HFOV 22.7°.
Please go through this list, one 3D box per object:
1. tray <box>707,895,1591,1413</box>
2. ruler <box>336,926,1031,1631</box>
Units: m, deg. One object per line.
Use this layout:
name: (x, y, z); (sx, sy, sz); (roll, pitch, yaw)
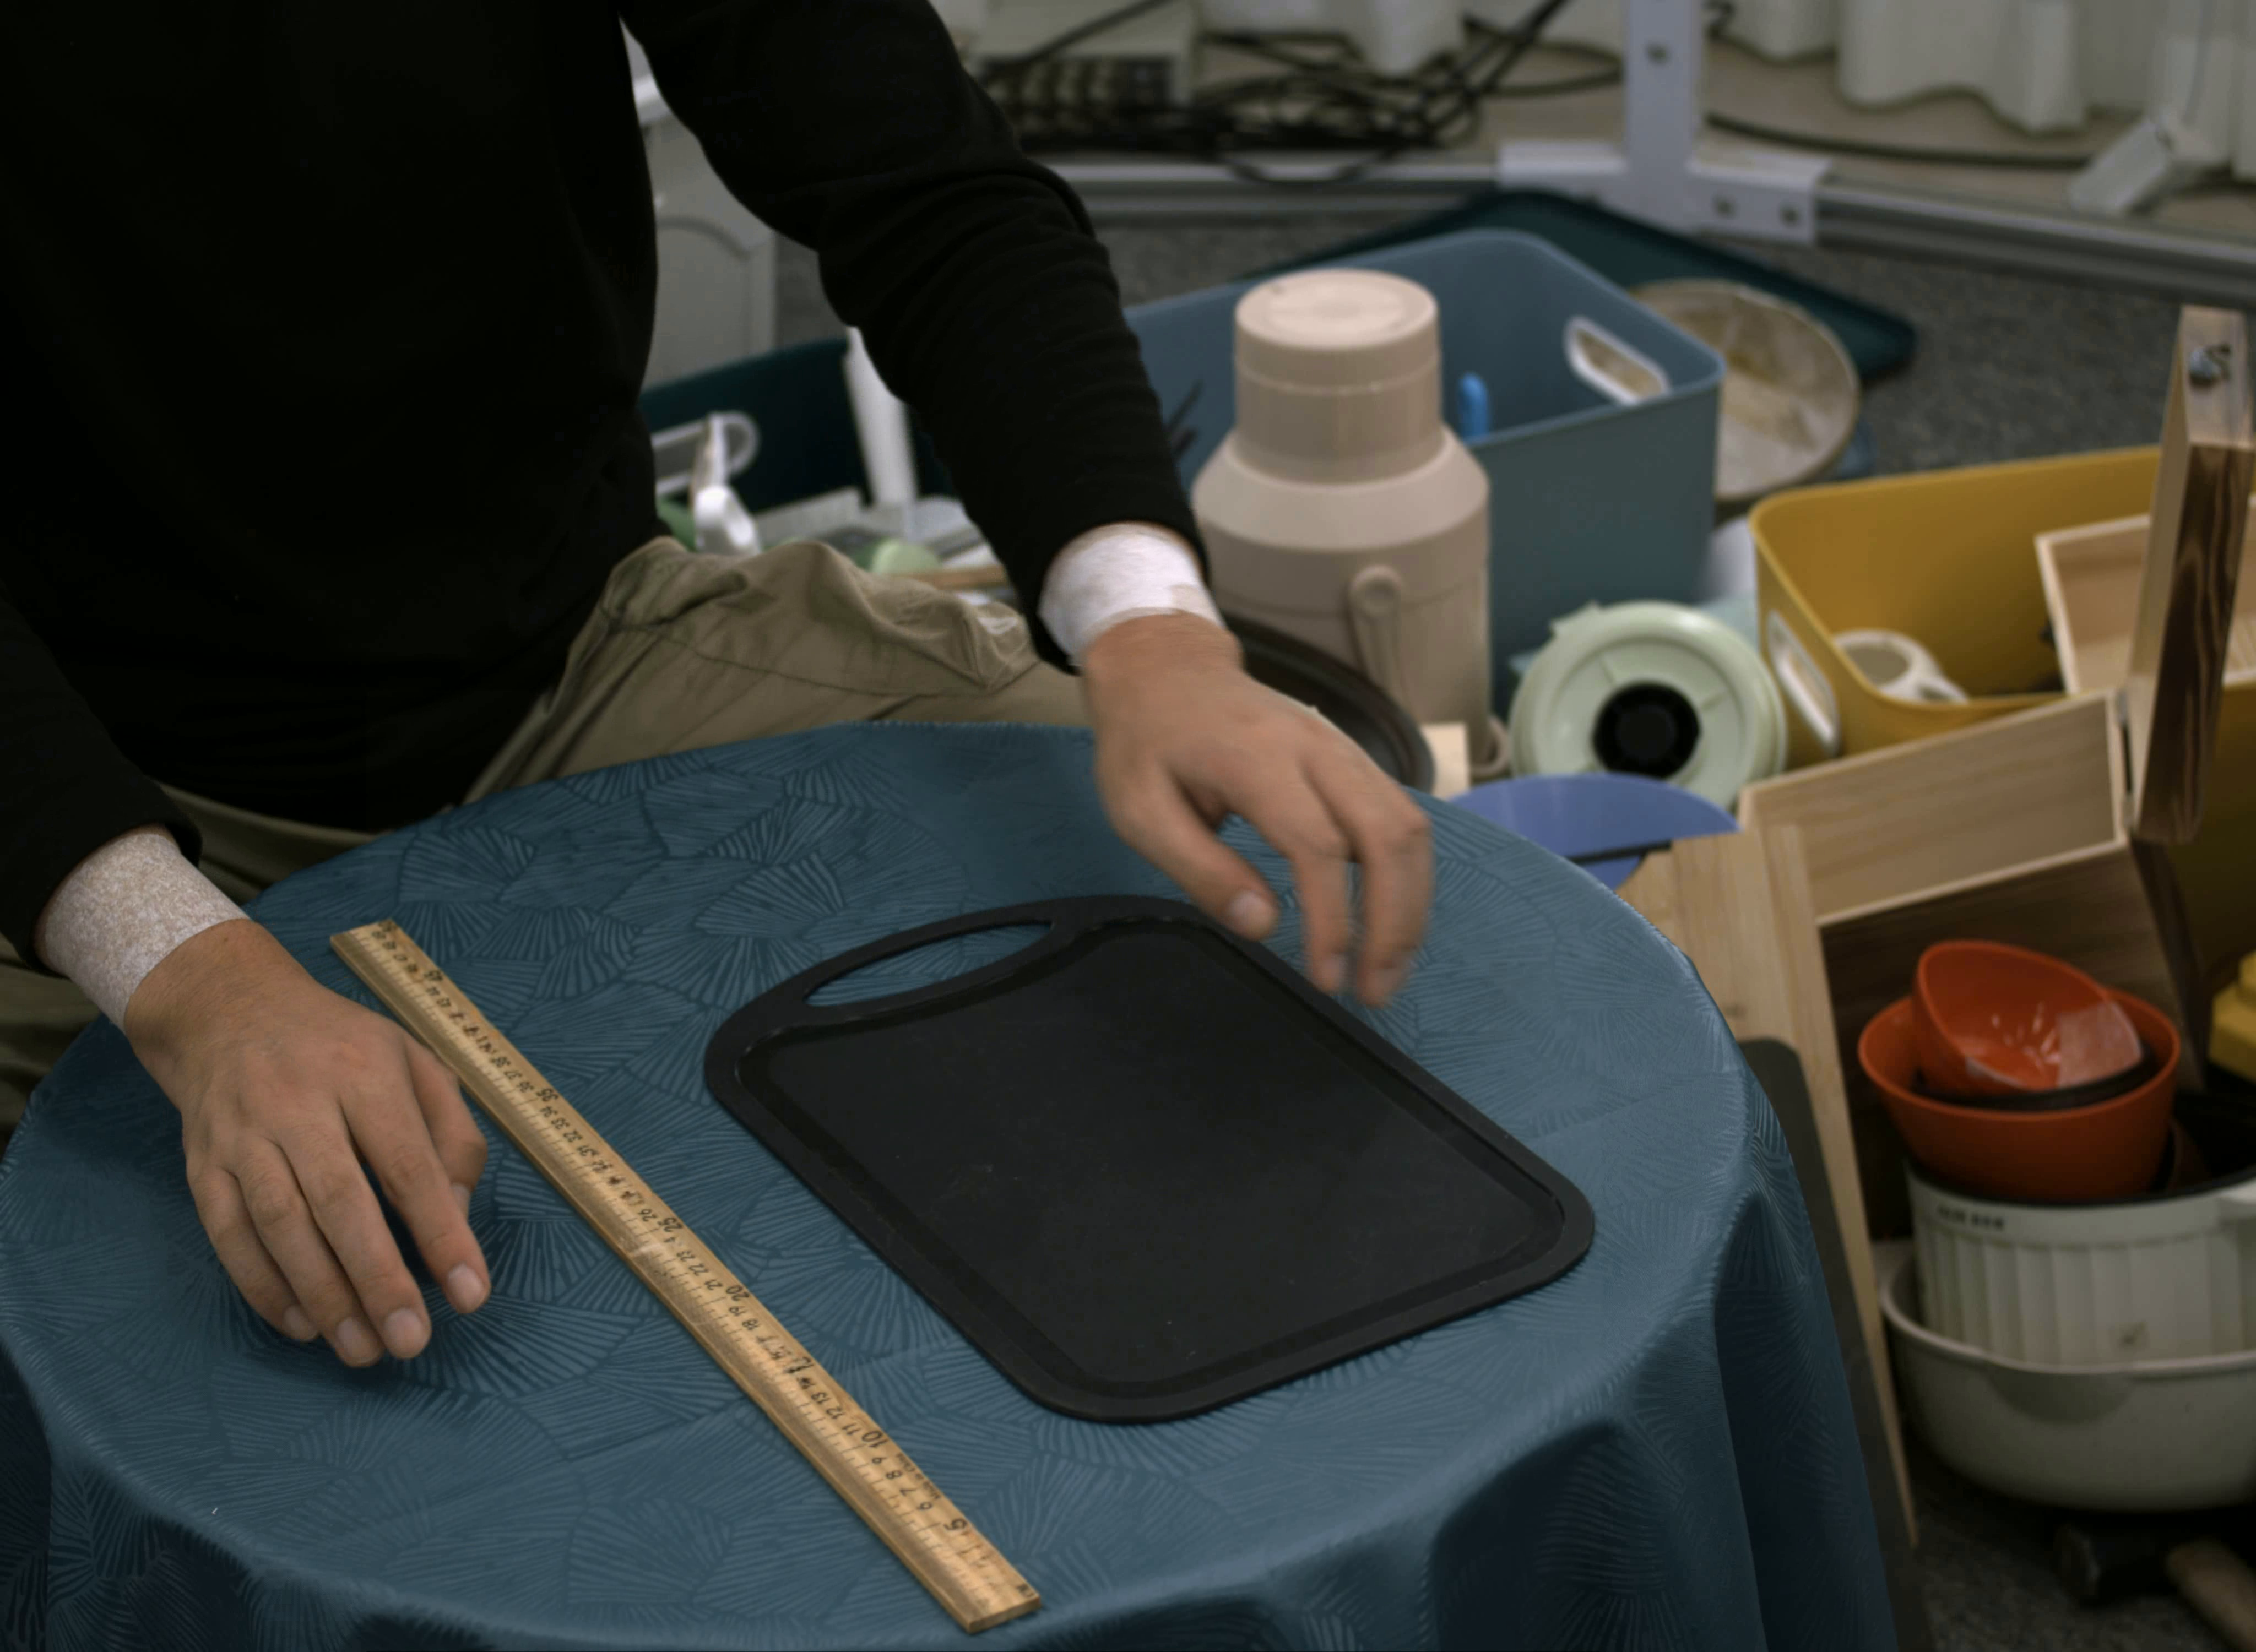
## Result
tray: (-0.003, 0.100, 1.894); (0.212, 0.009, 0.327); (-17, 30, -25)
ruler: (-0.157, 0.136, 1.843); (0.027, 0.006, 0.503); (-14, 29, -25)
